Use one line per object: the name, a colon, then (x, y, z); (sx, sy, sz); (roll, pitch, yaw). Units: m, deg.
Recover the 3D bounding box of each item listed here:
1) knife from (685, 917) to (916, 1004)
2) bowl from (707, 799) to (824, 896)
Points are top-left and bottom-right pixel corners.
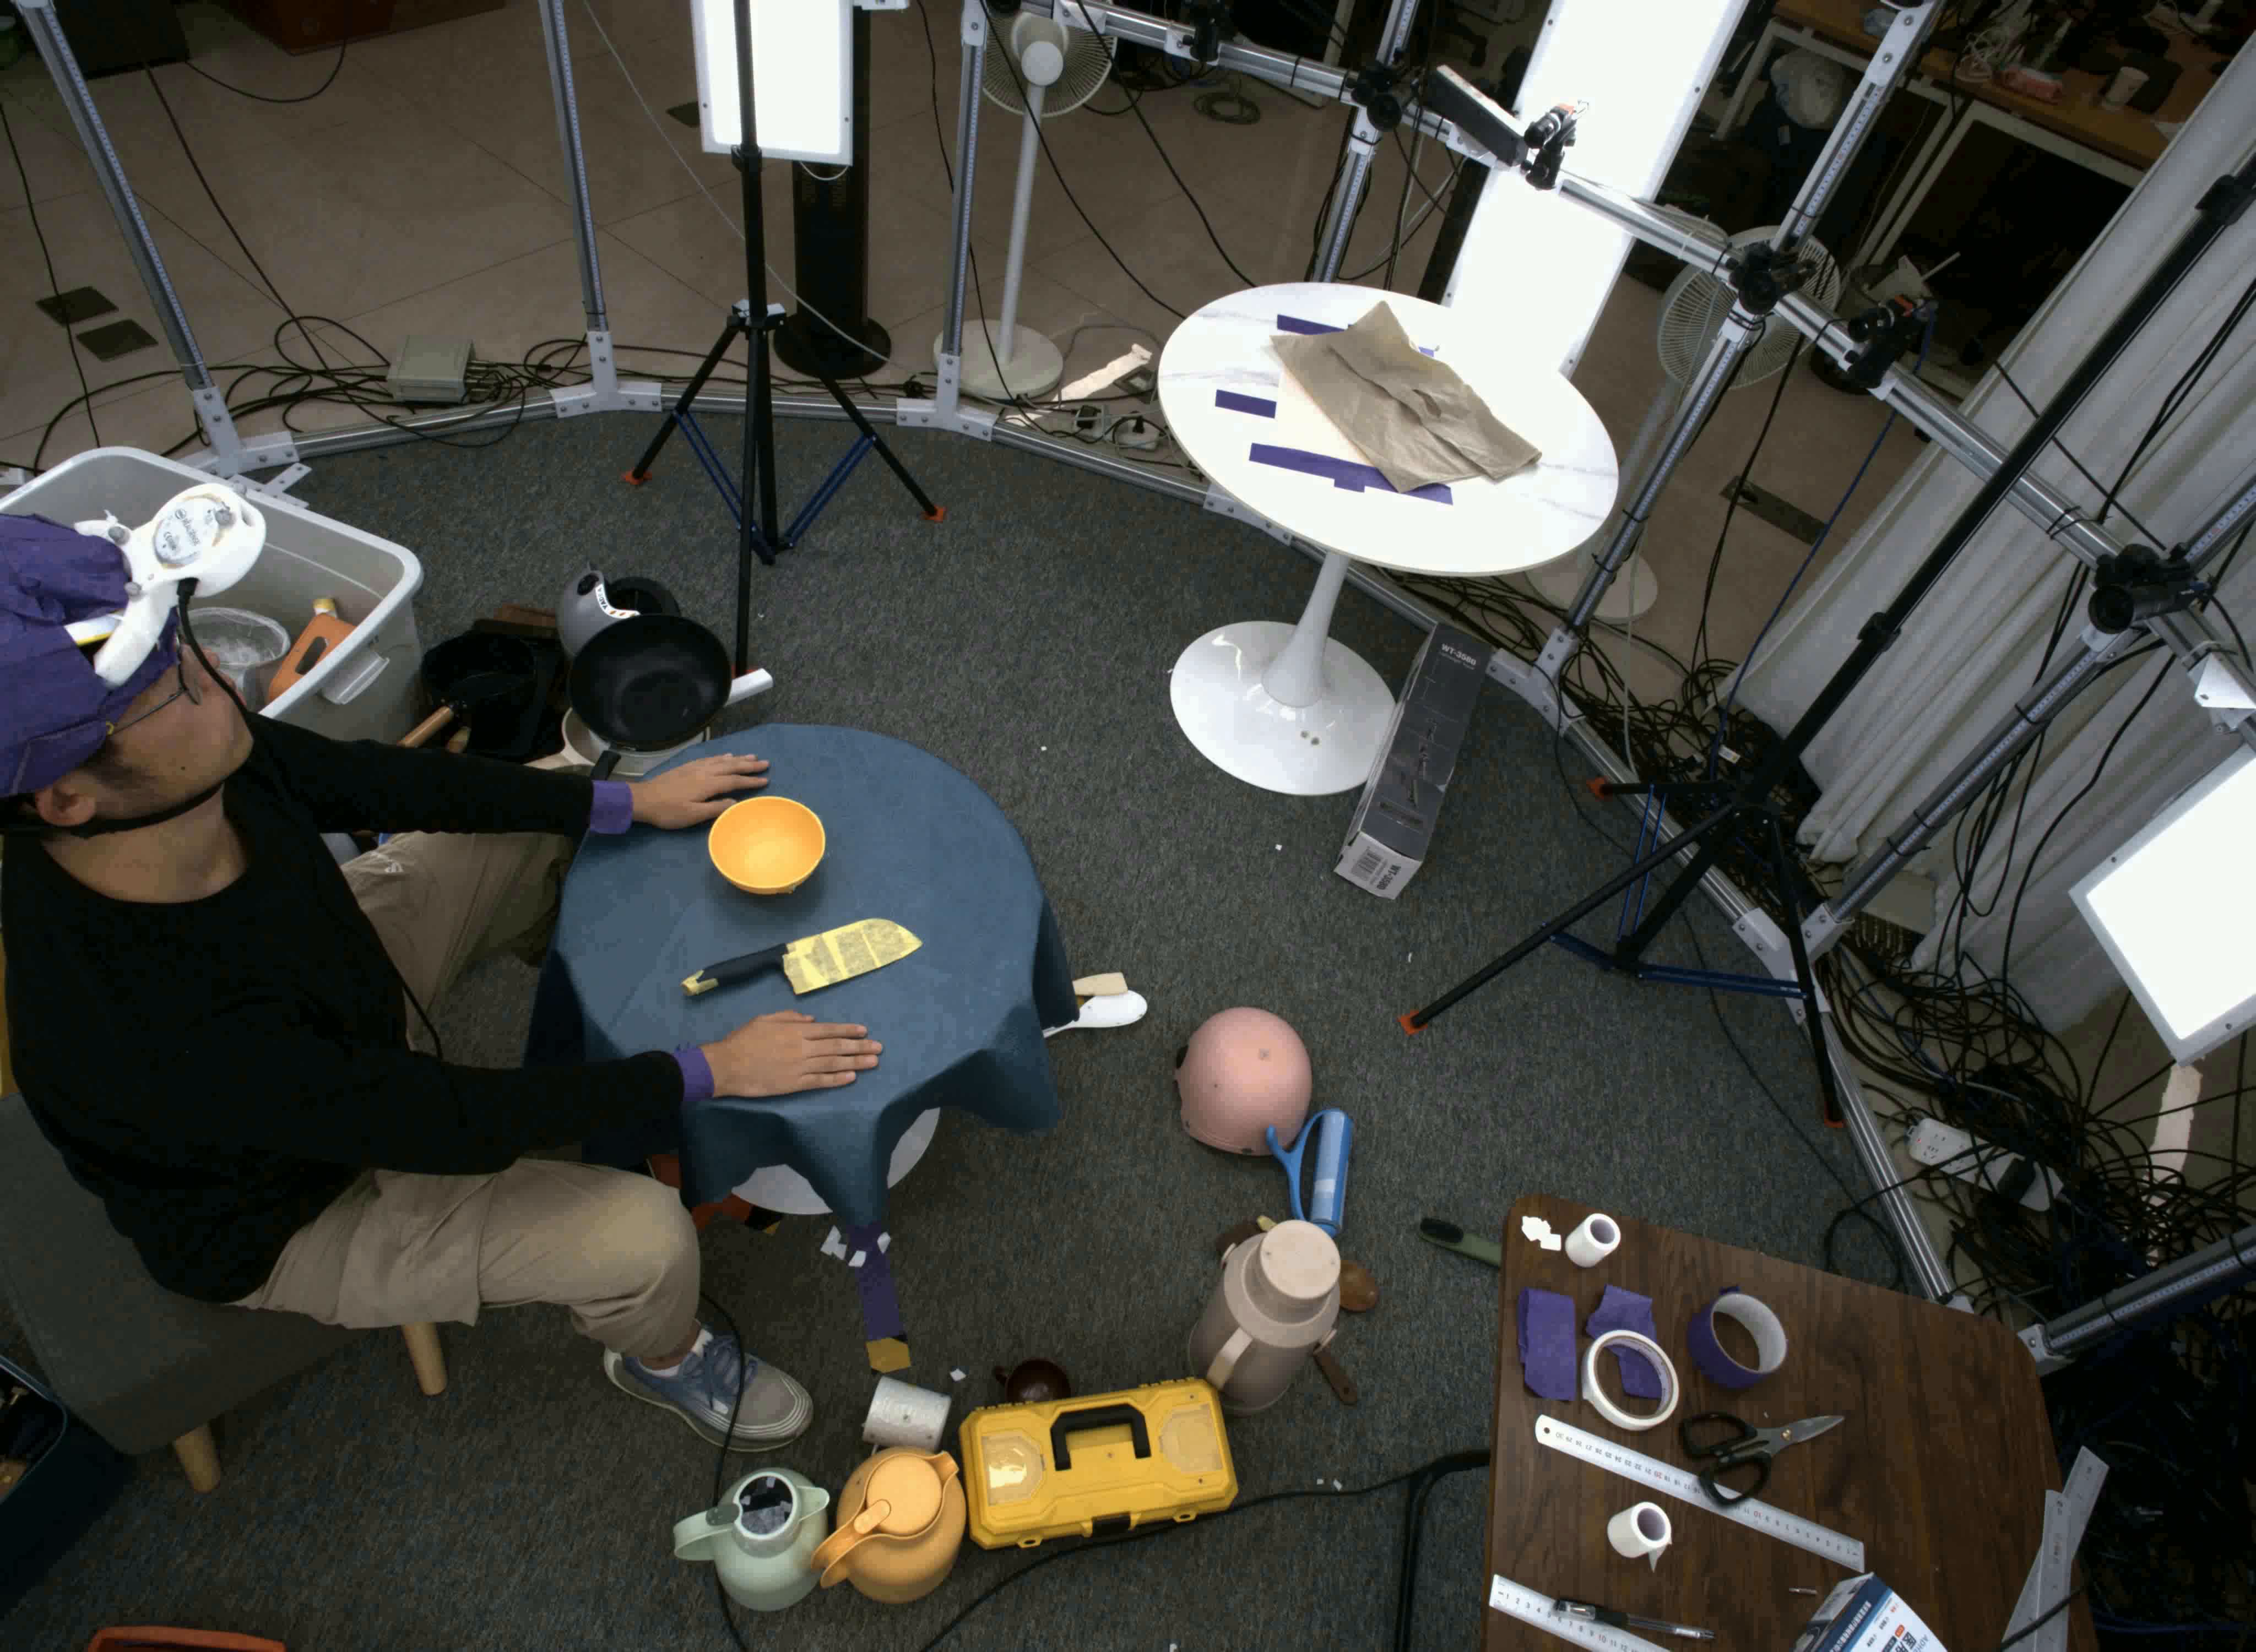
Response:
knife: (-0.397, 0.169, 1.593); (0.291, 0.028, 0.079); (-16, 58, -26)
bowl: (-0.459, 0.037, 1.646); (0.145, 0.061, 0.142); (7, 50, -7)
